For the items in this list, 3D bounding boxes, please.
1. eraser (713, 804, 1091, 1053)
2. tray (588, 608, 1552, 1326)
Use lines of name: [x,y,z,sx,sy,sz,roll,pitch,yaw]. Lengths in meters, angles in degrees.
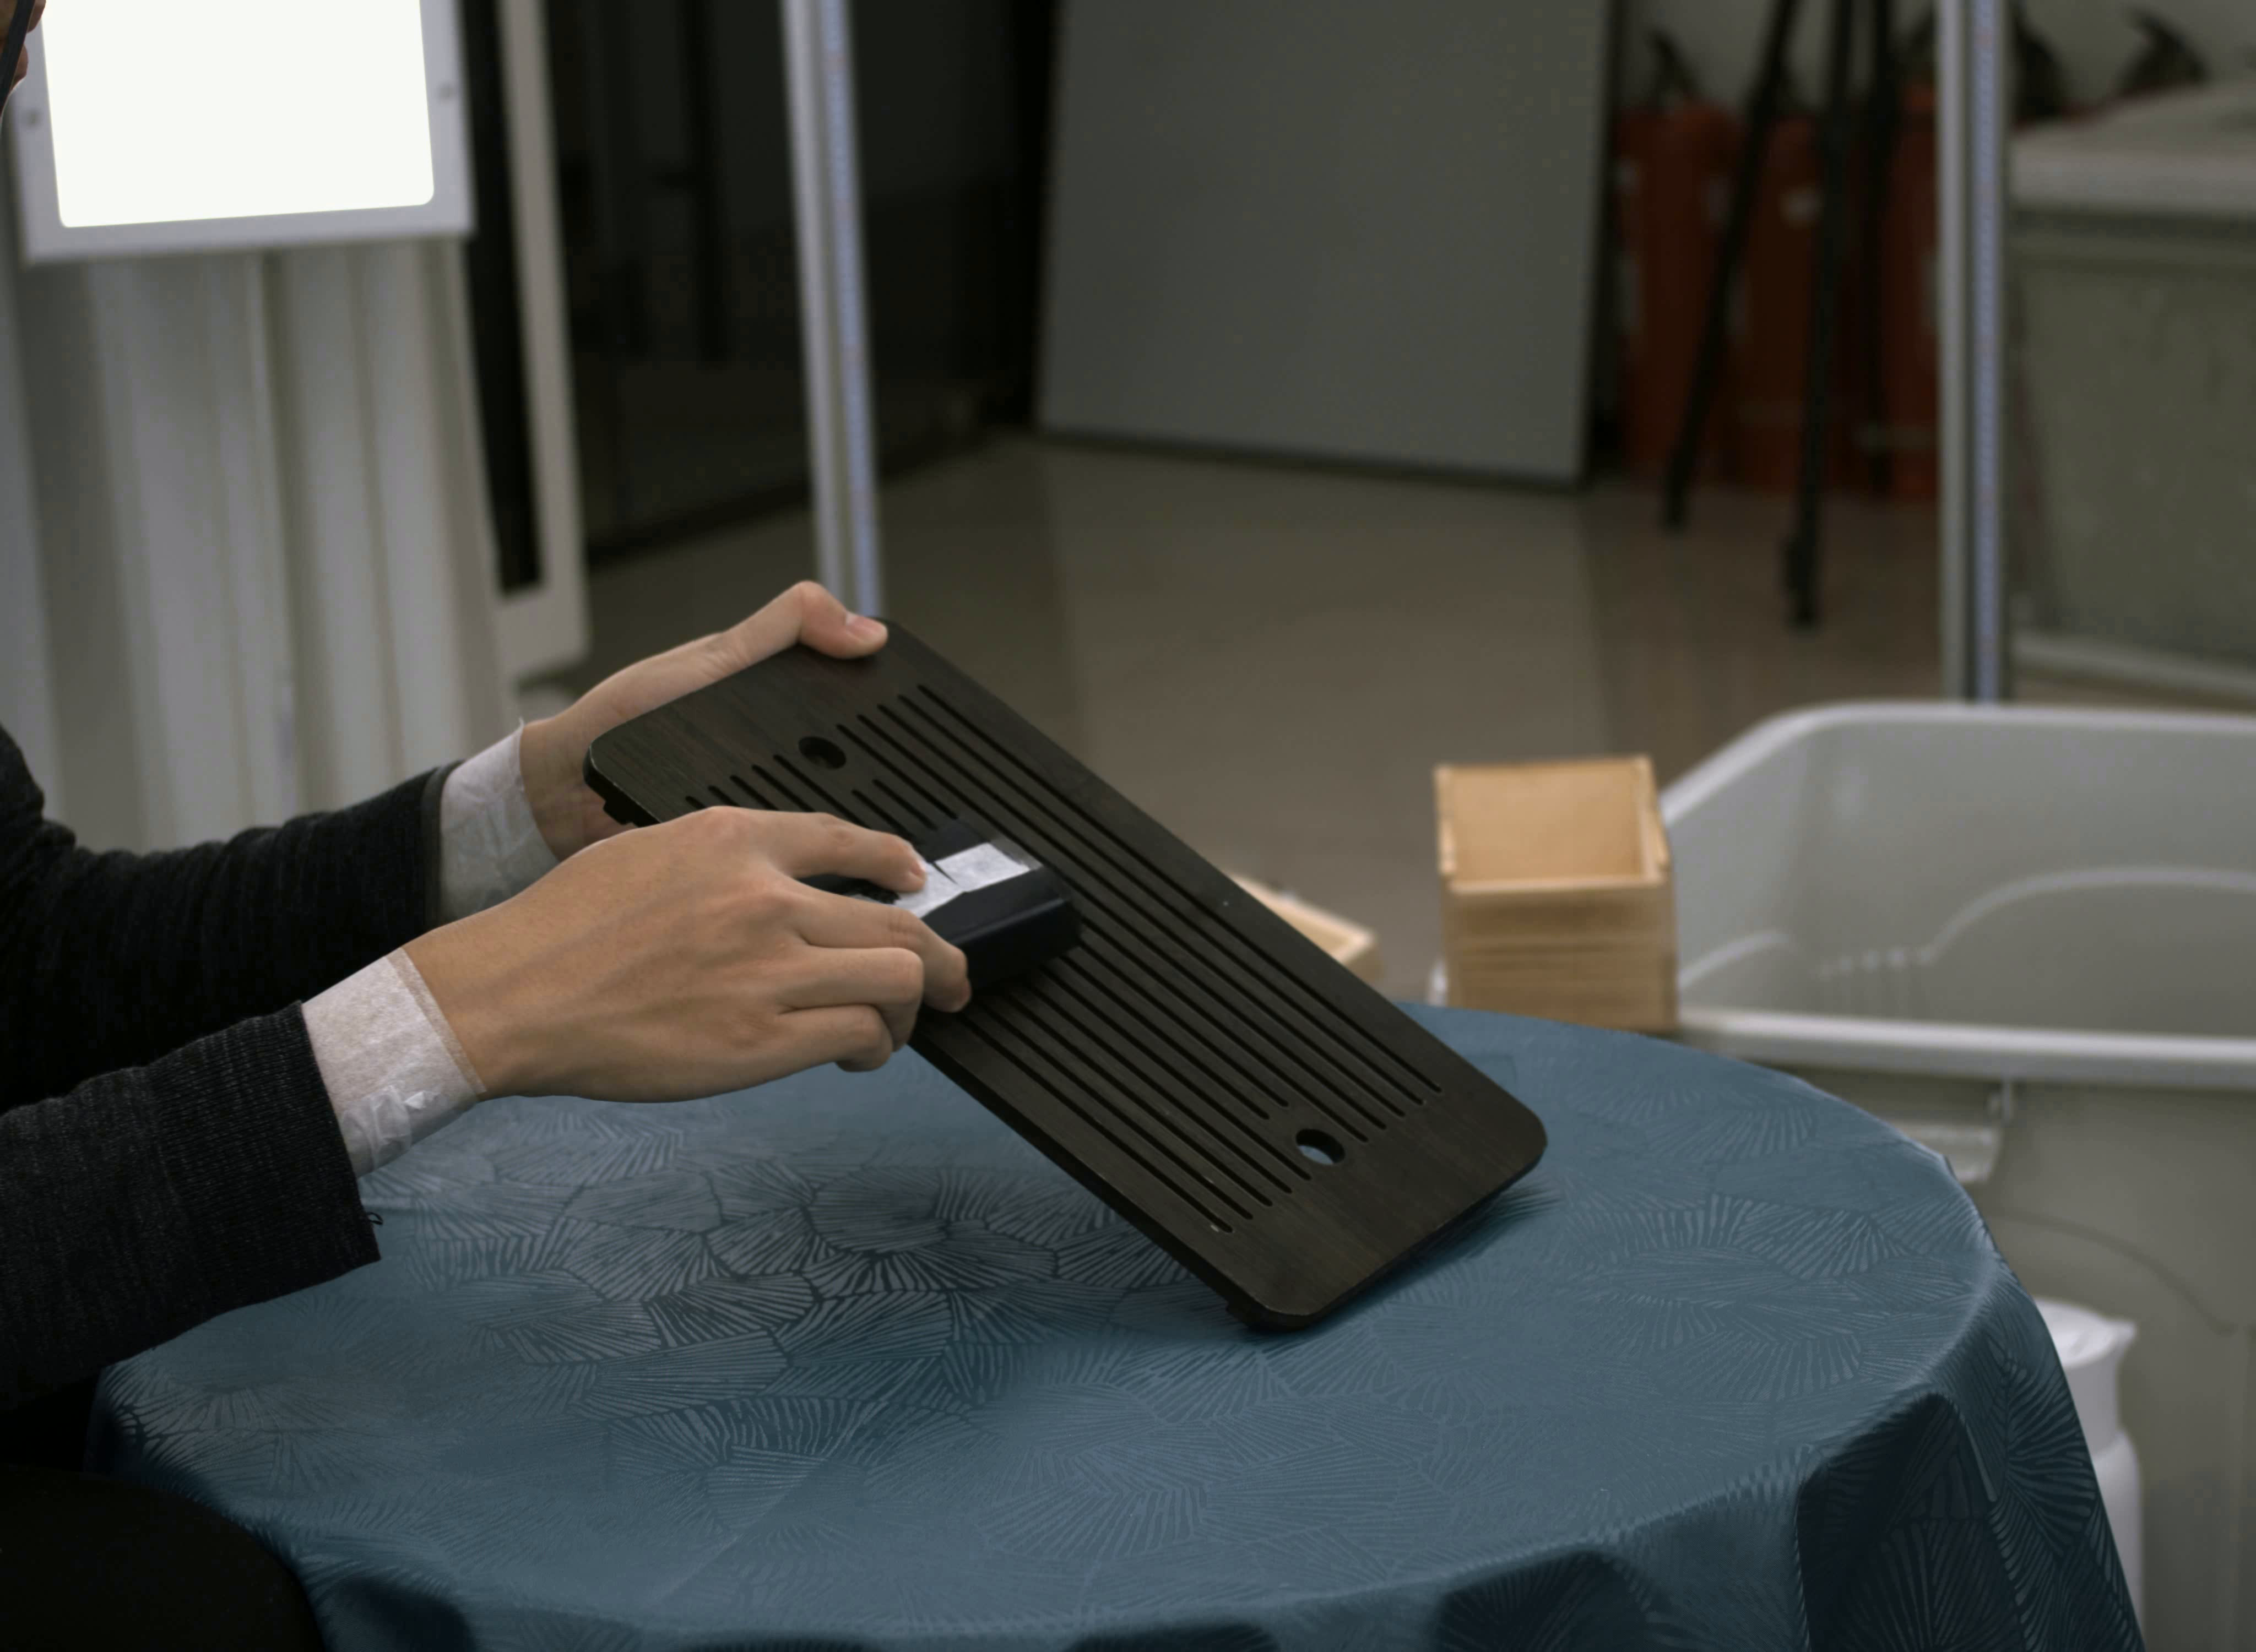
eraser: [-0.070,0.030,1.679,0.054,0.031,0.123,37,35,25]
tray: [-0.019,0.041,1.736,0.307,0.019,0.167,38,36,20]
